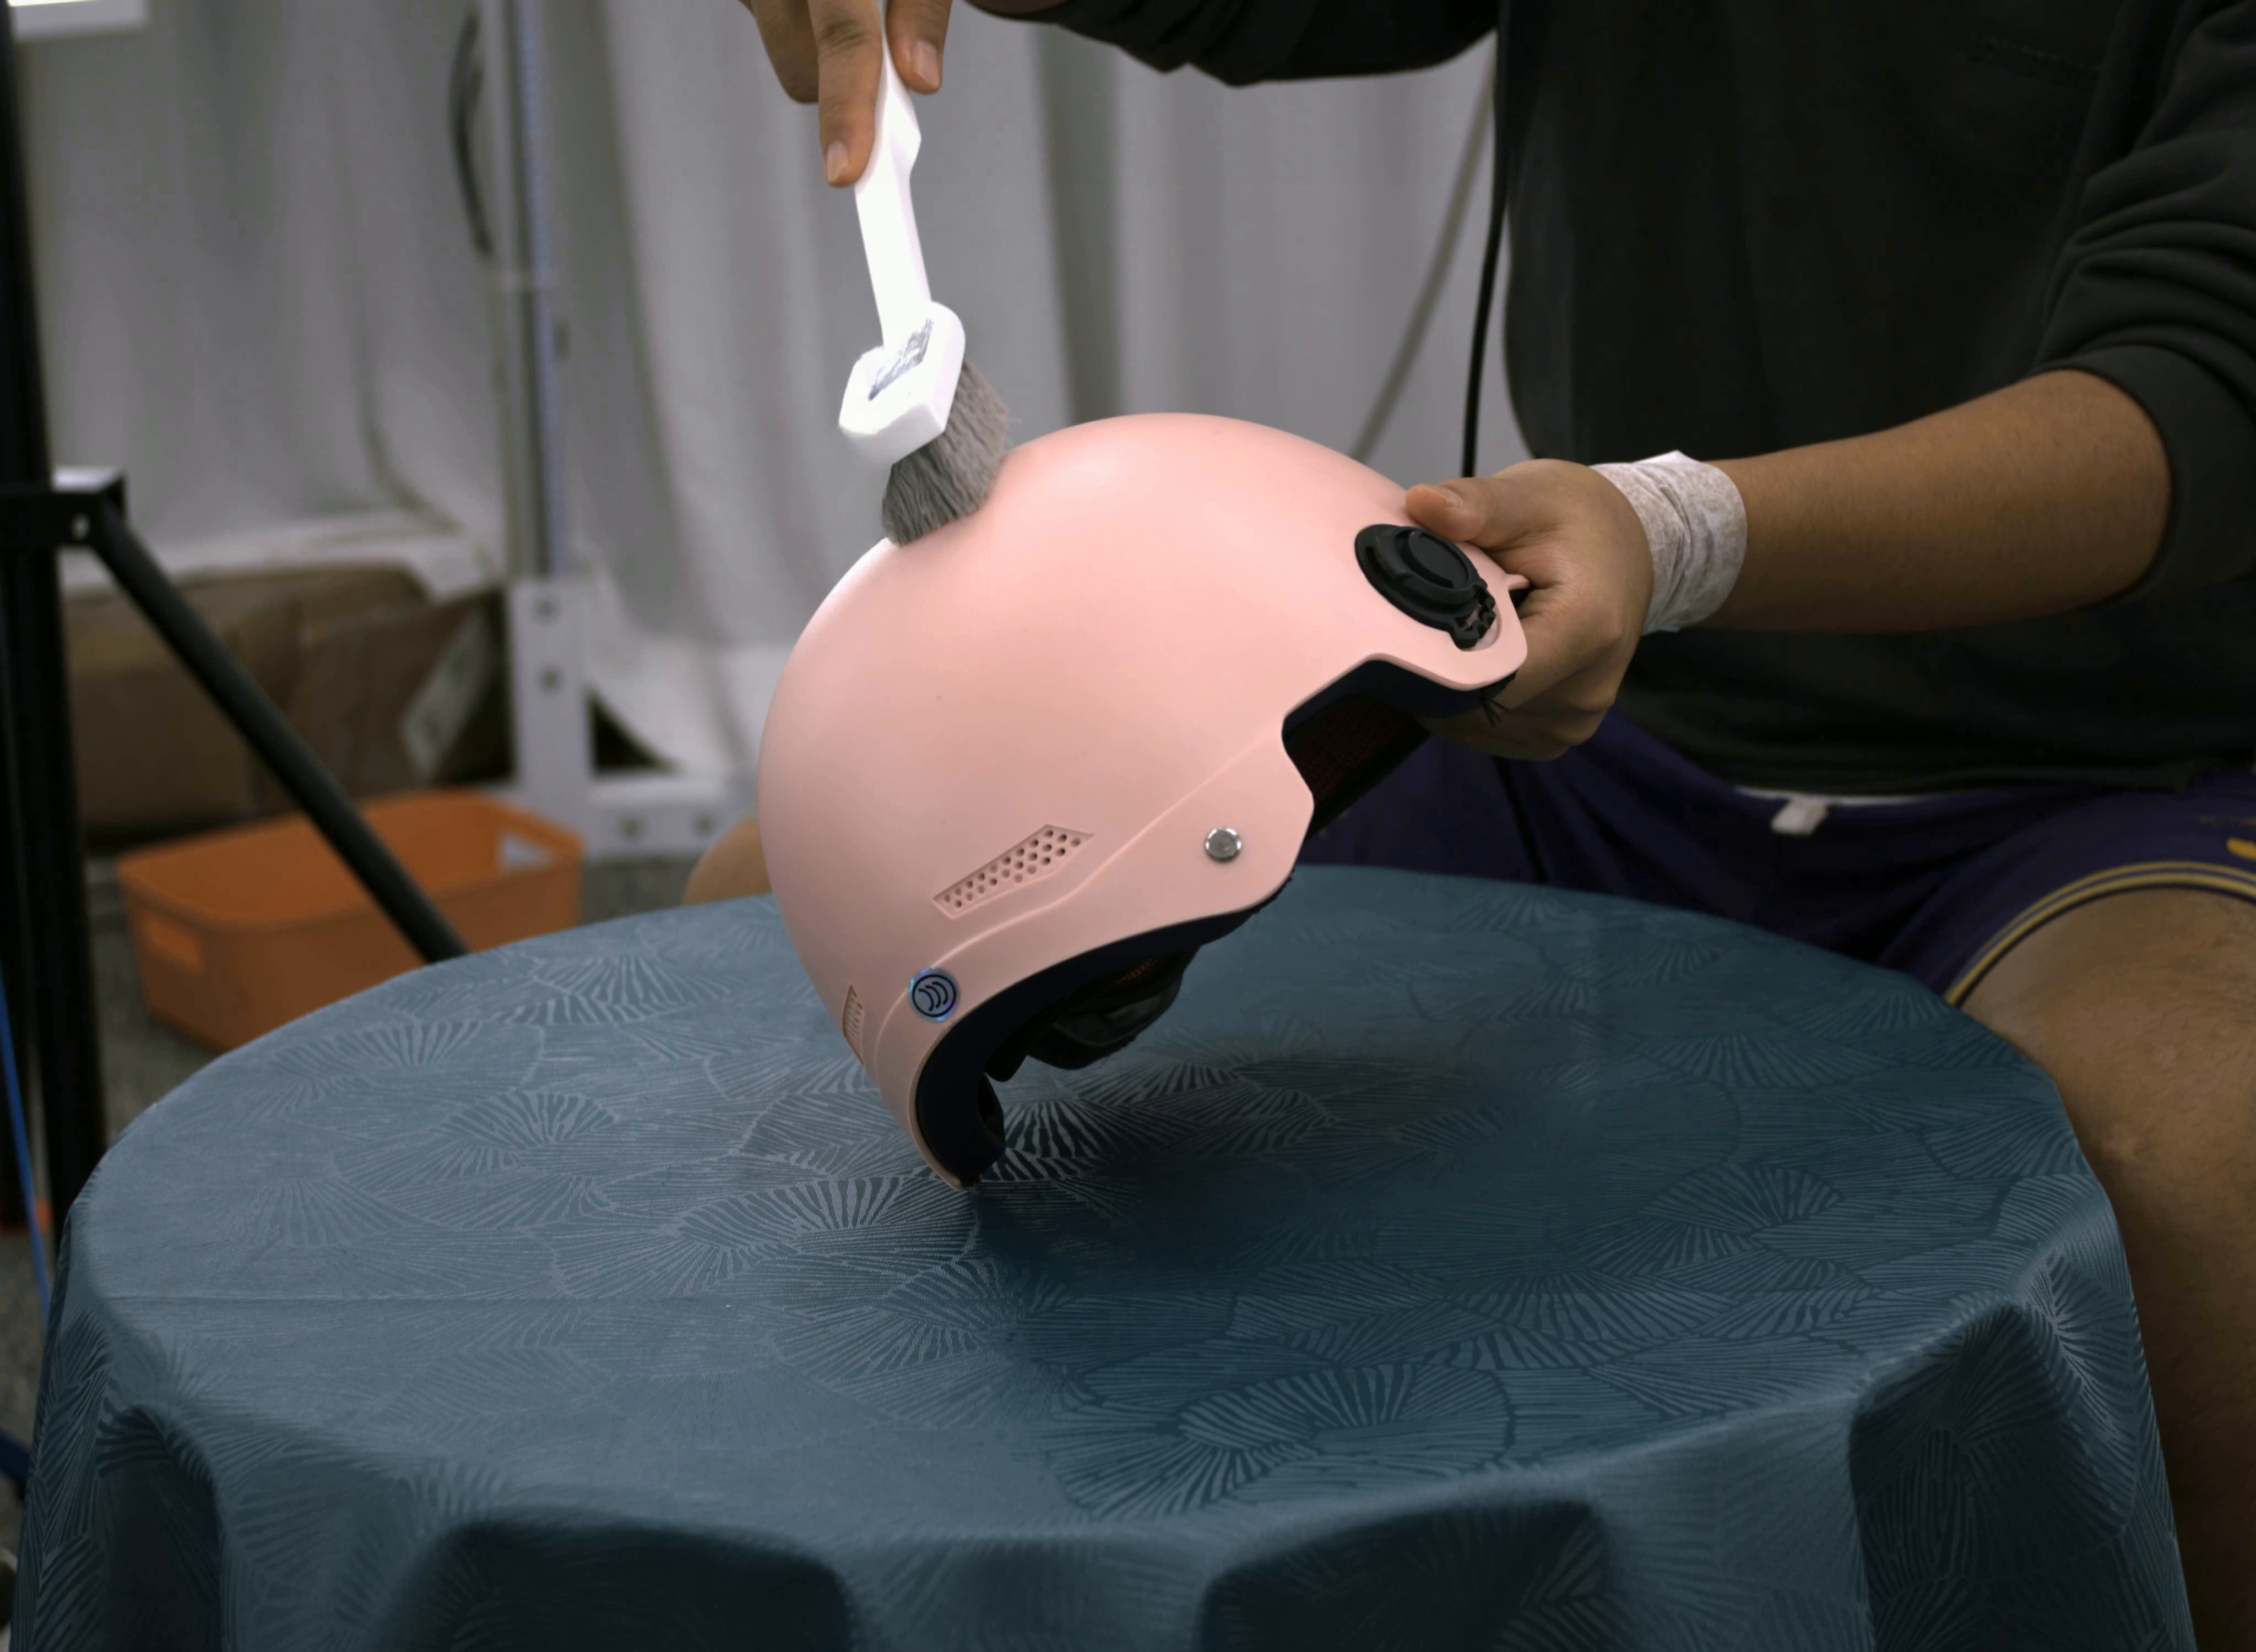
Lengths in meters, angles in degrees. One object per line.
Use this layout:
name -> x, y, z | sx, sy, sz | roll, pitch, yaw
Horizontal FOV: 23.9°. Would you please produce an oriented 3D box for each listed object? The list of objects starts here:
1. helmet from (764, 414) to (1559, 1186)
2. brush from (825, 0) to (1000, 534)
helmet -> -0.005, -0.033, 1.573 | 0.261, 0.160, 0.236 | -33, -9, -45
brush -> -0.066, -0.178, 1.584 | 0.034, 0.049, 0.247 | -25, 42, 19
